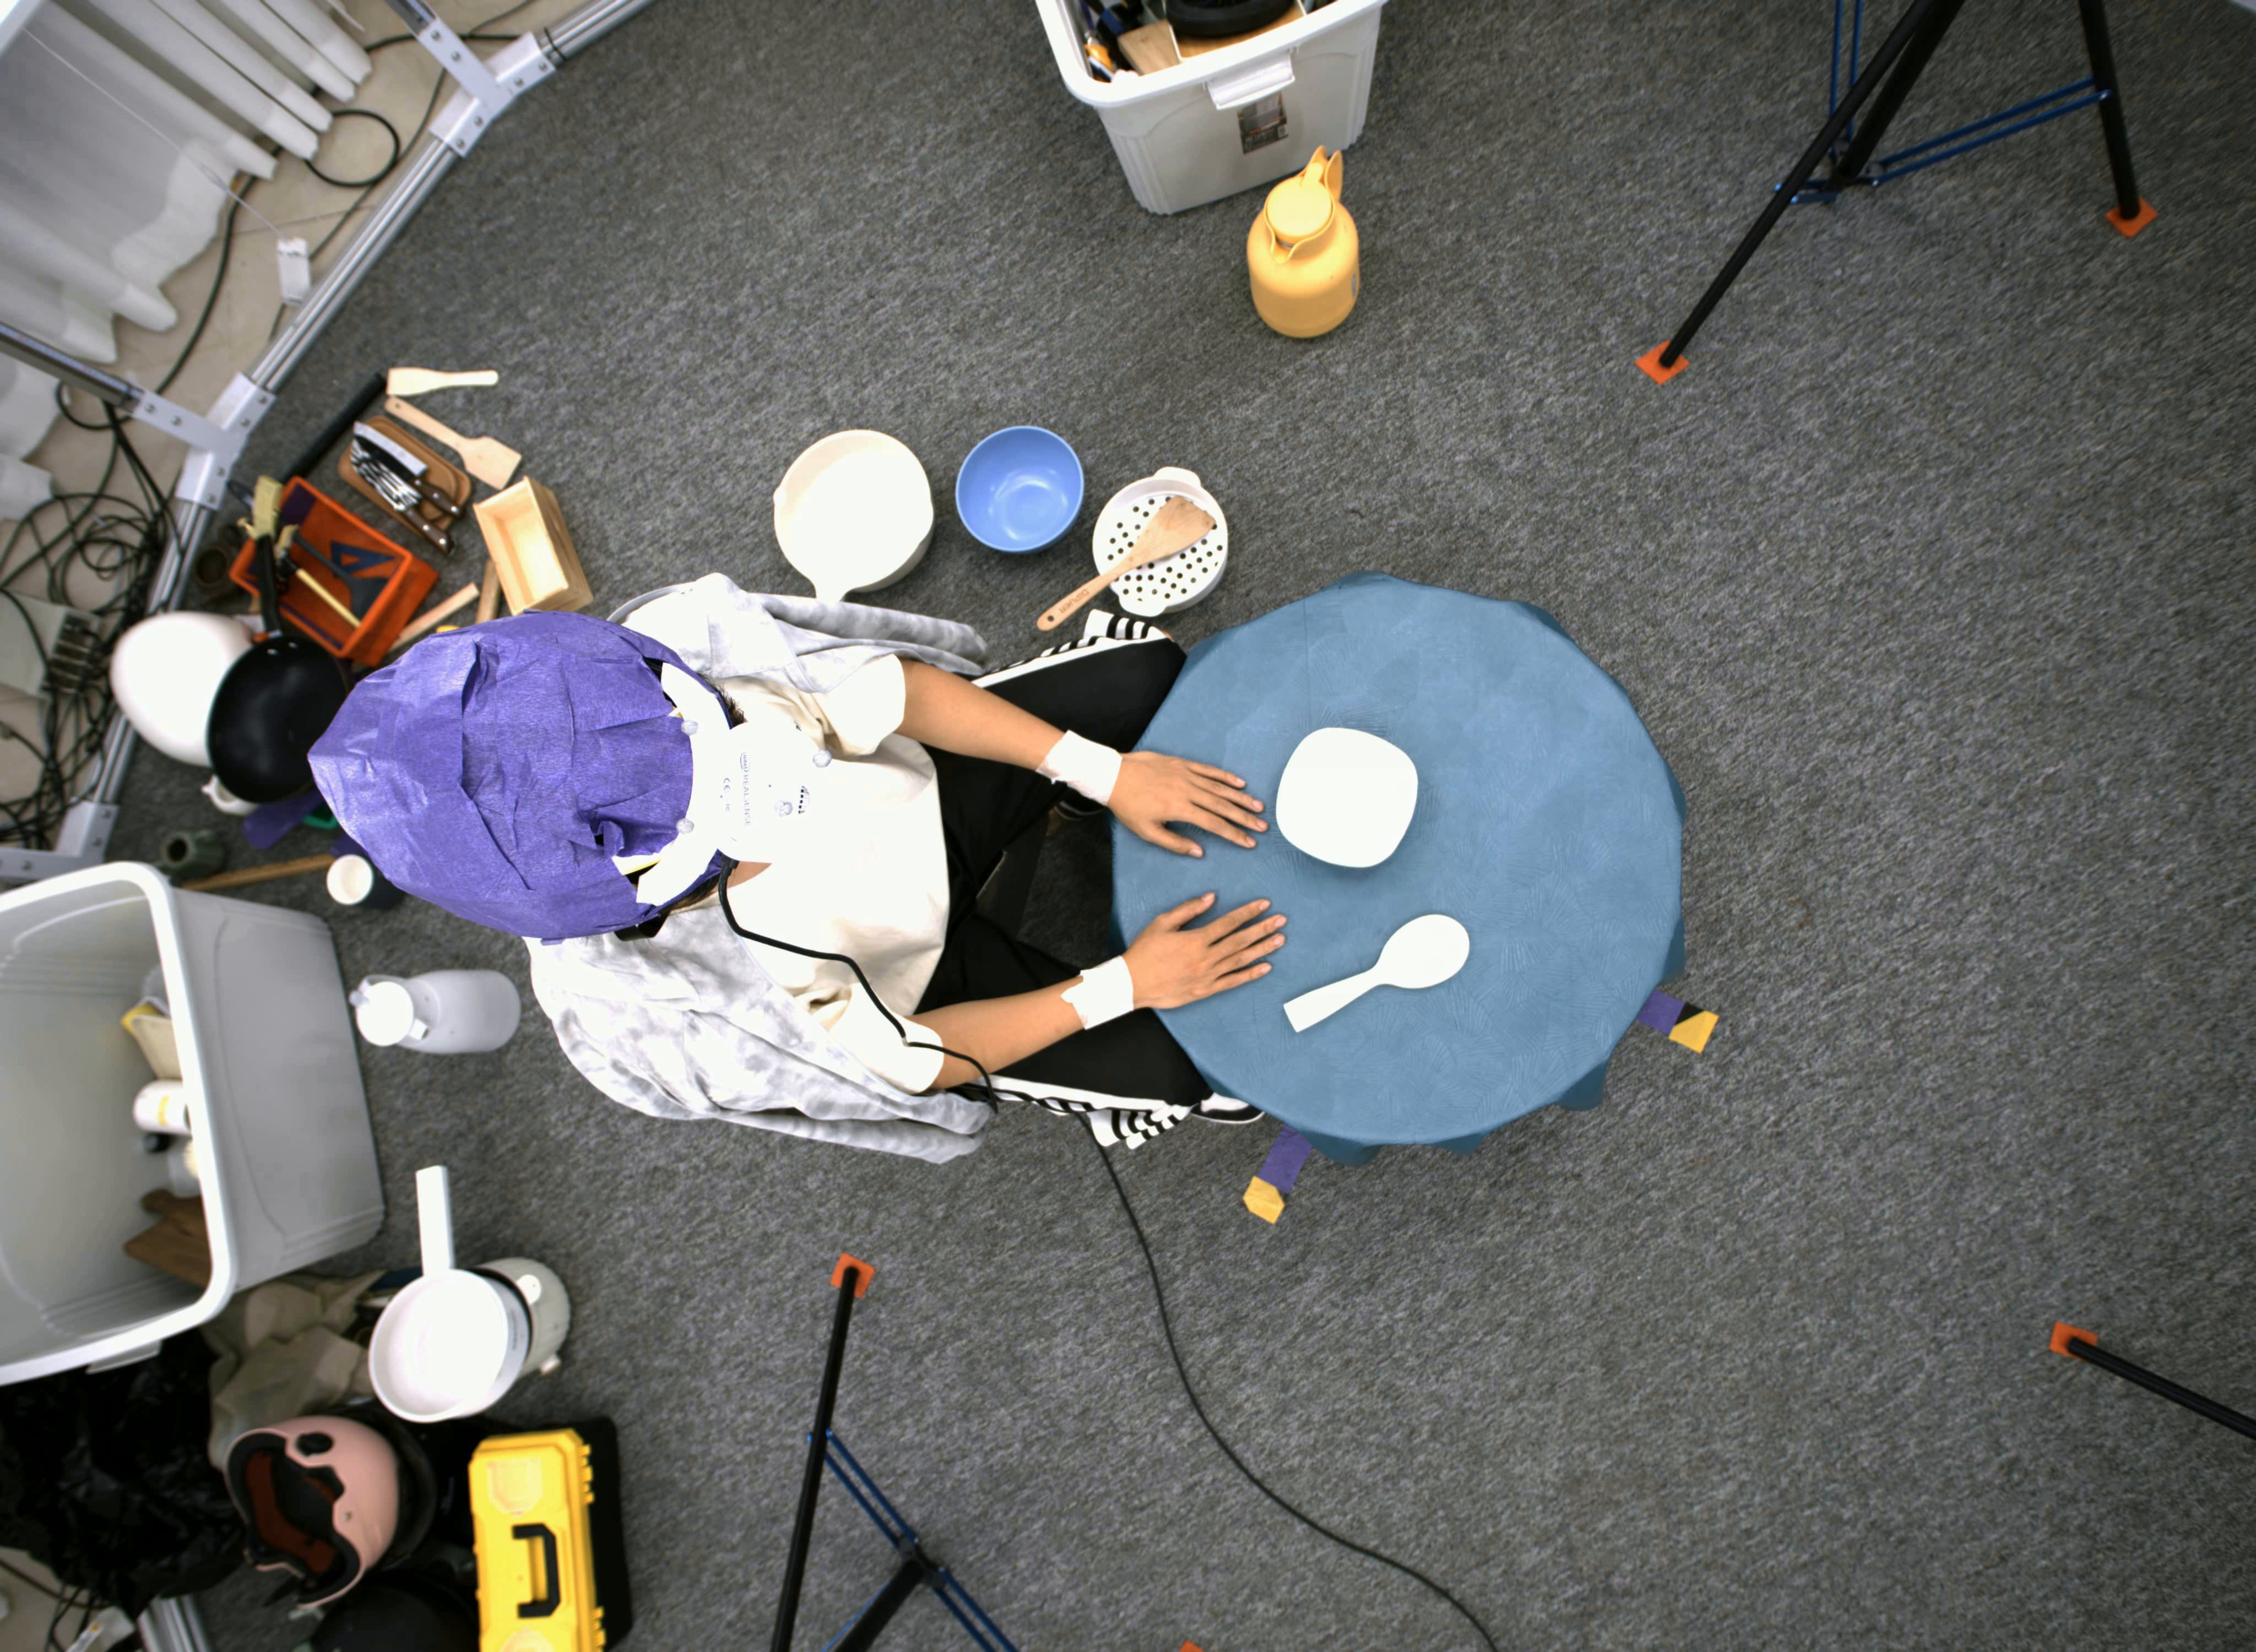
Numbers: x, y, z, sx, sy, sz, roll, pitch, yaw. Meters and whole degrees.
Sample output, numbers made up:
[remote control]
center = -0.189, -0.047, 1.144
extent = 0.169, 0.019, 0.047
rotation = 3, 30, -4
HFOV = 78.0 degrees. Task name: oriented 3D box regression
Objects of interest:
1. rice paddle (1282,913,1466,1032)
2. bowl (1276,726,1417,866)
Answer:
[rice paddle]
center = 0.258, 0.153, 1.441
extent = 0.206, 0.029, 0.068
rotation = -28, 84, 8
[bowl]
center = 0.228, -0.030, 1.443
extent = 0.152, 0.058, 0.151
rotation = -1, 88, 9
